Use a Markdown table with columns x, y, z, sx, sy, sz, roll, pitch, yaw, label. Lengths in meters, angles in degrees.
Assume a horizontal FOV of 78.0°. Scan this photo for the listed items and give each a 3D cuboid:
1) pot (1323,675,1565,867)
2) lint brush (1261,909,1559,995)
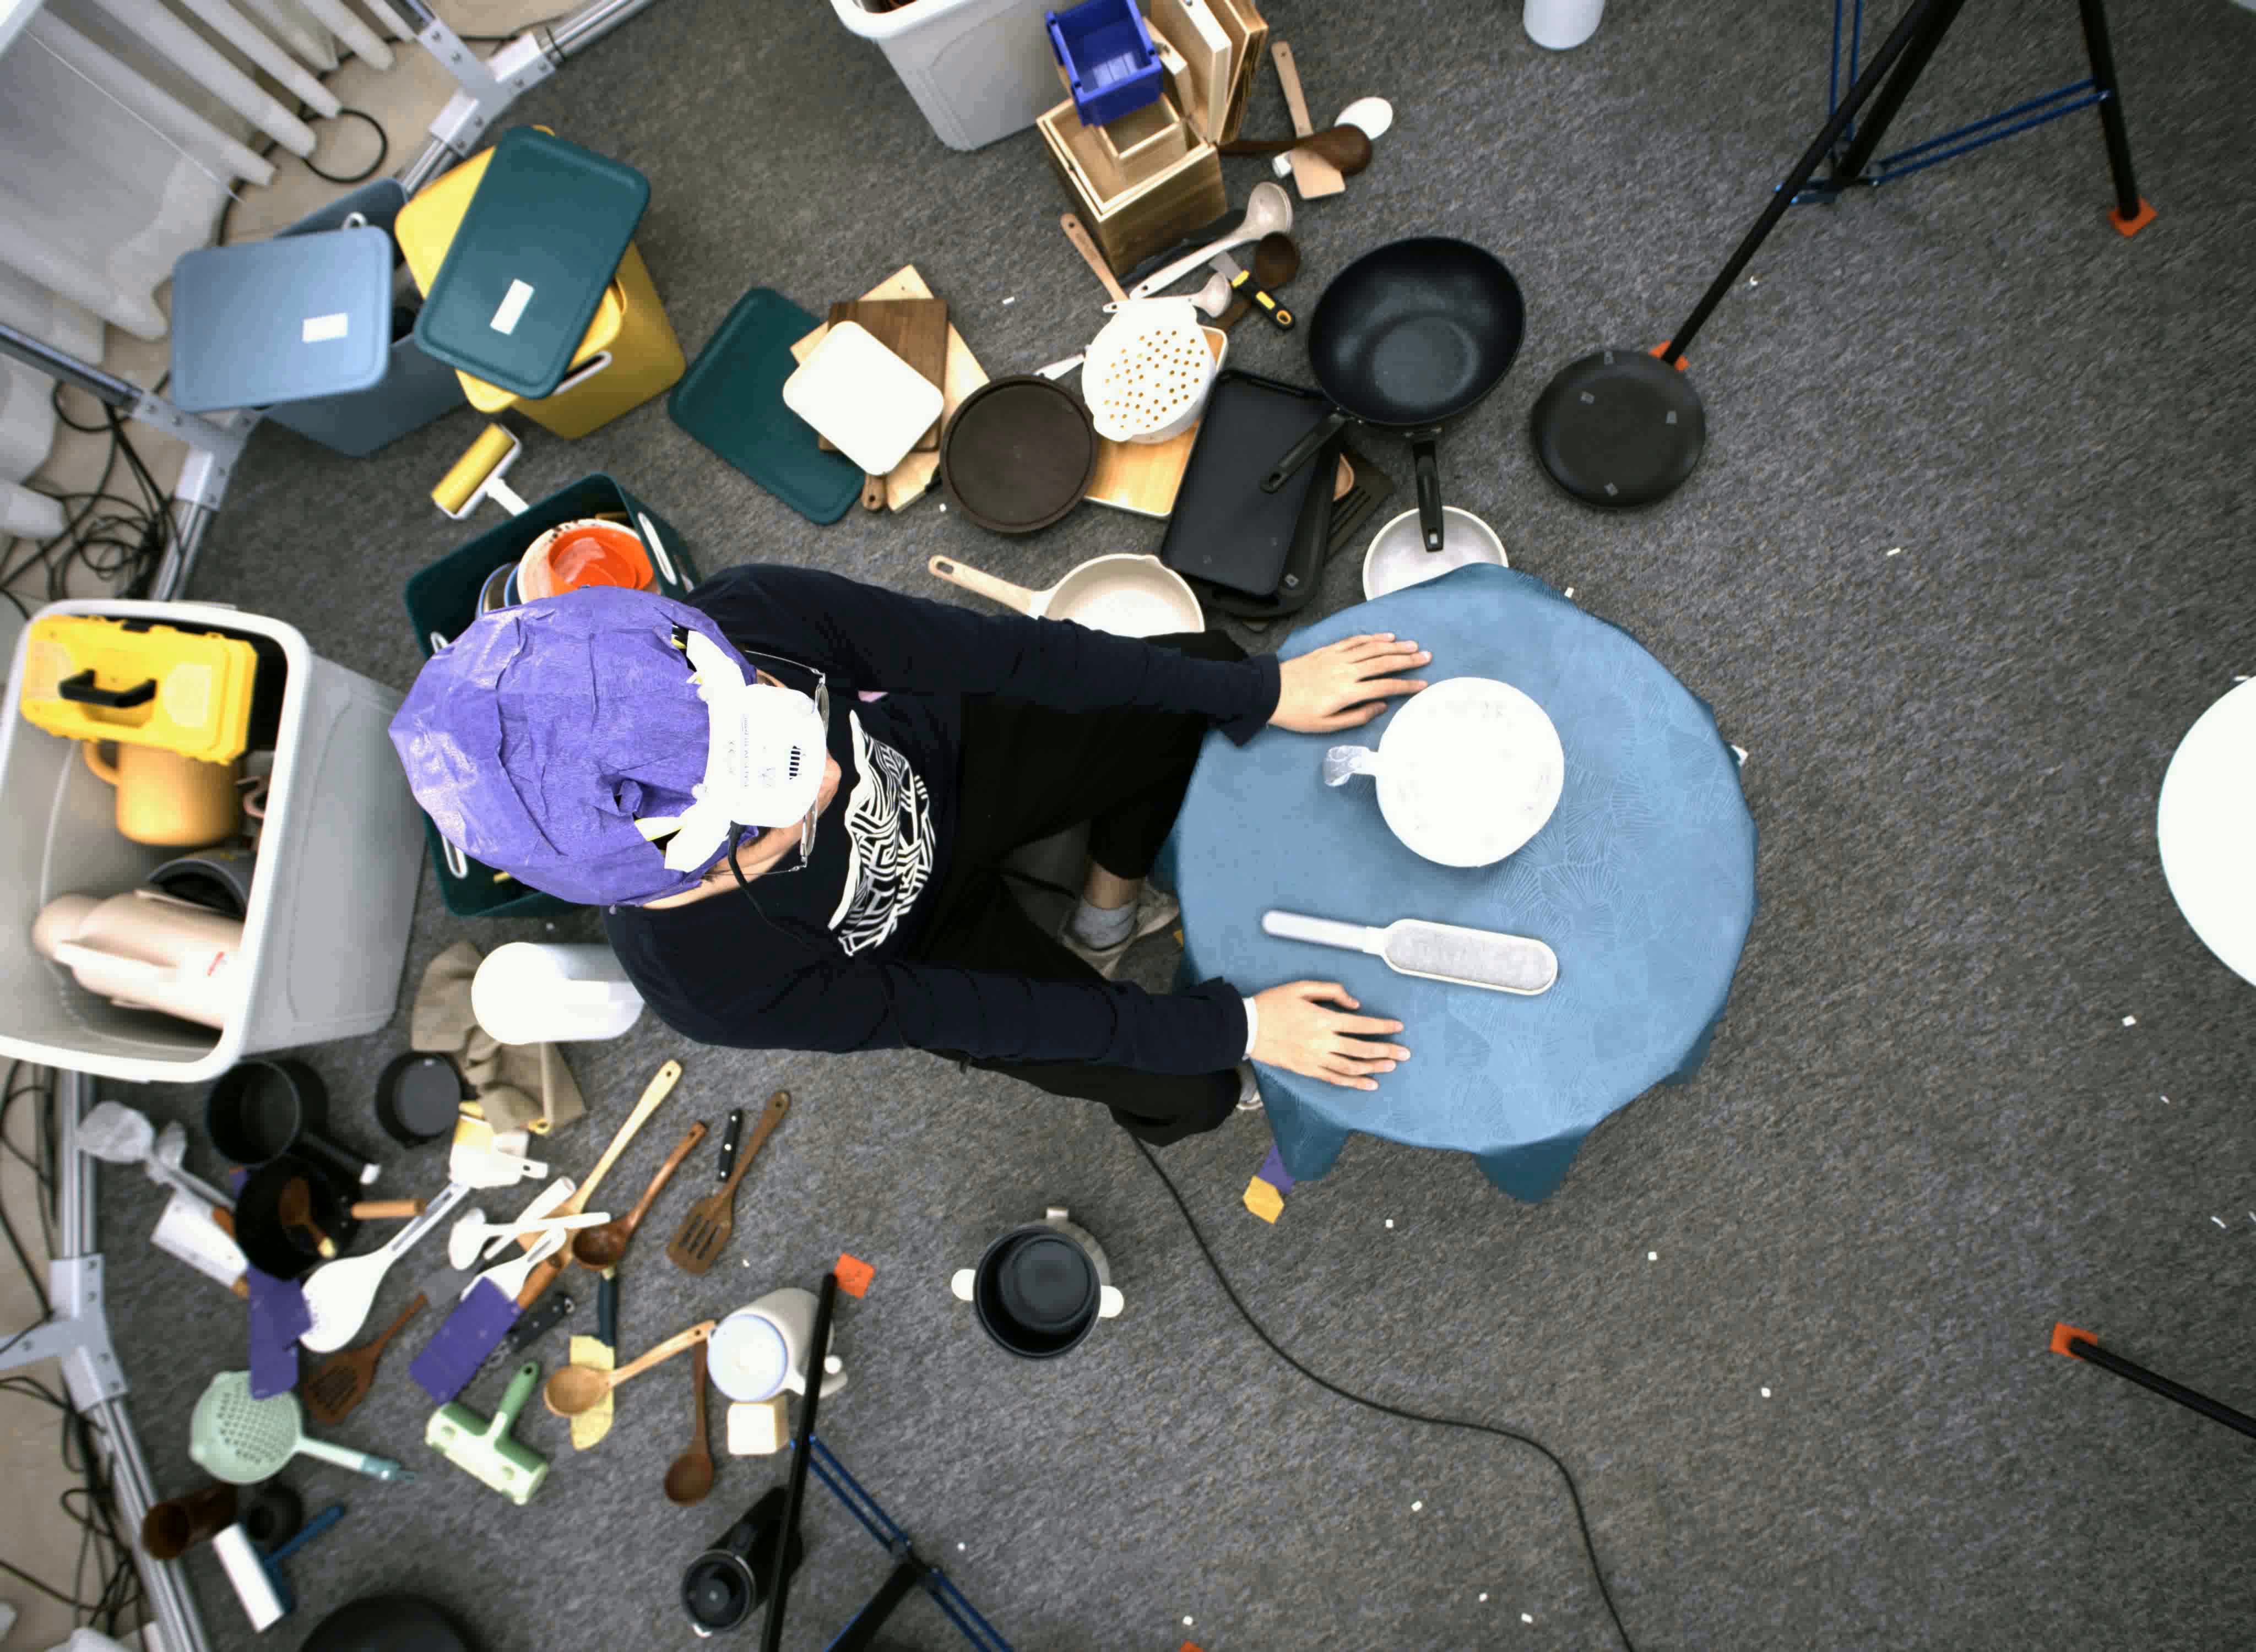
| x | y | z | sx | sy | sz | roll | pitch | yaw | label |
| --- | --- | --- | --- | --- | --- | --- | --- | --- | --- |
| 0.313 | -0.055 | 1.387 | 0.234 | 0.137 | 0.177 | 5 | 84 | 10 | pot |
| 0.291 | 0.122 | 1.440 | 0.309 | 0.021 | 0.060 | 9 | 94 | 11 | lint brush |
